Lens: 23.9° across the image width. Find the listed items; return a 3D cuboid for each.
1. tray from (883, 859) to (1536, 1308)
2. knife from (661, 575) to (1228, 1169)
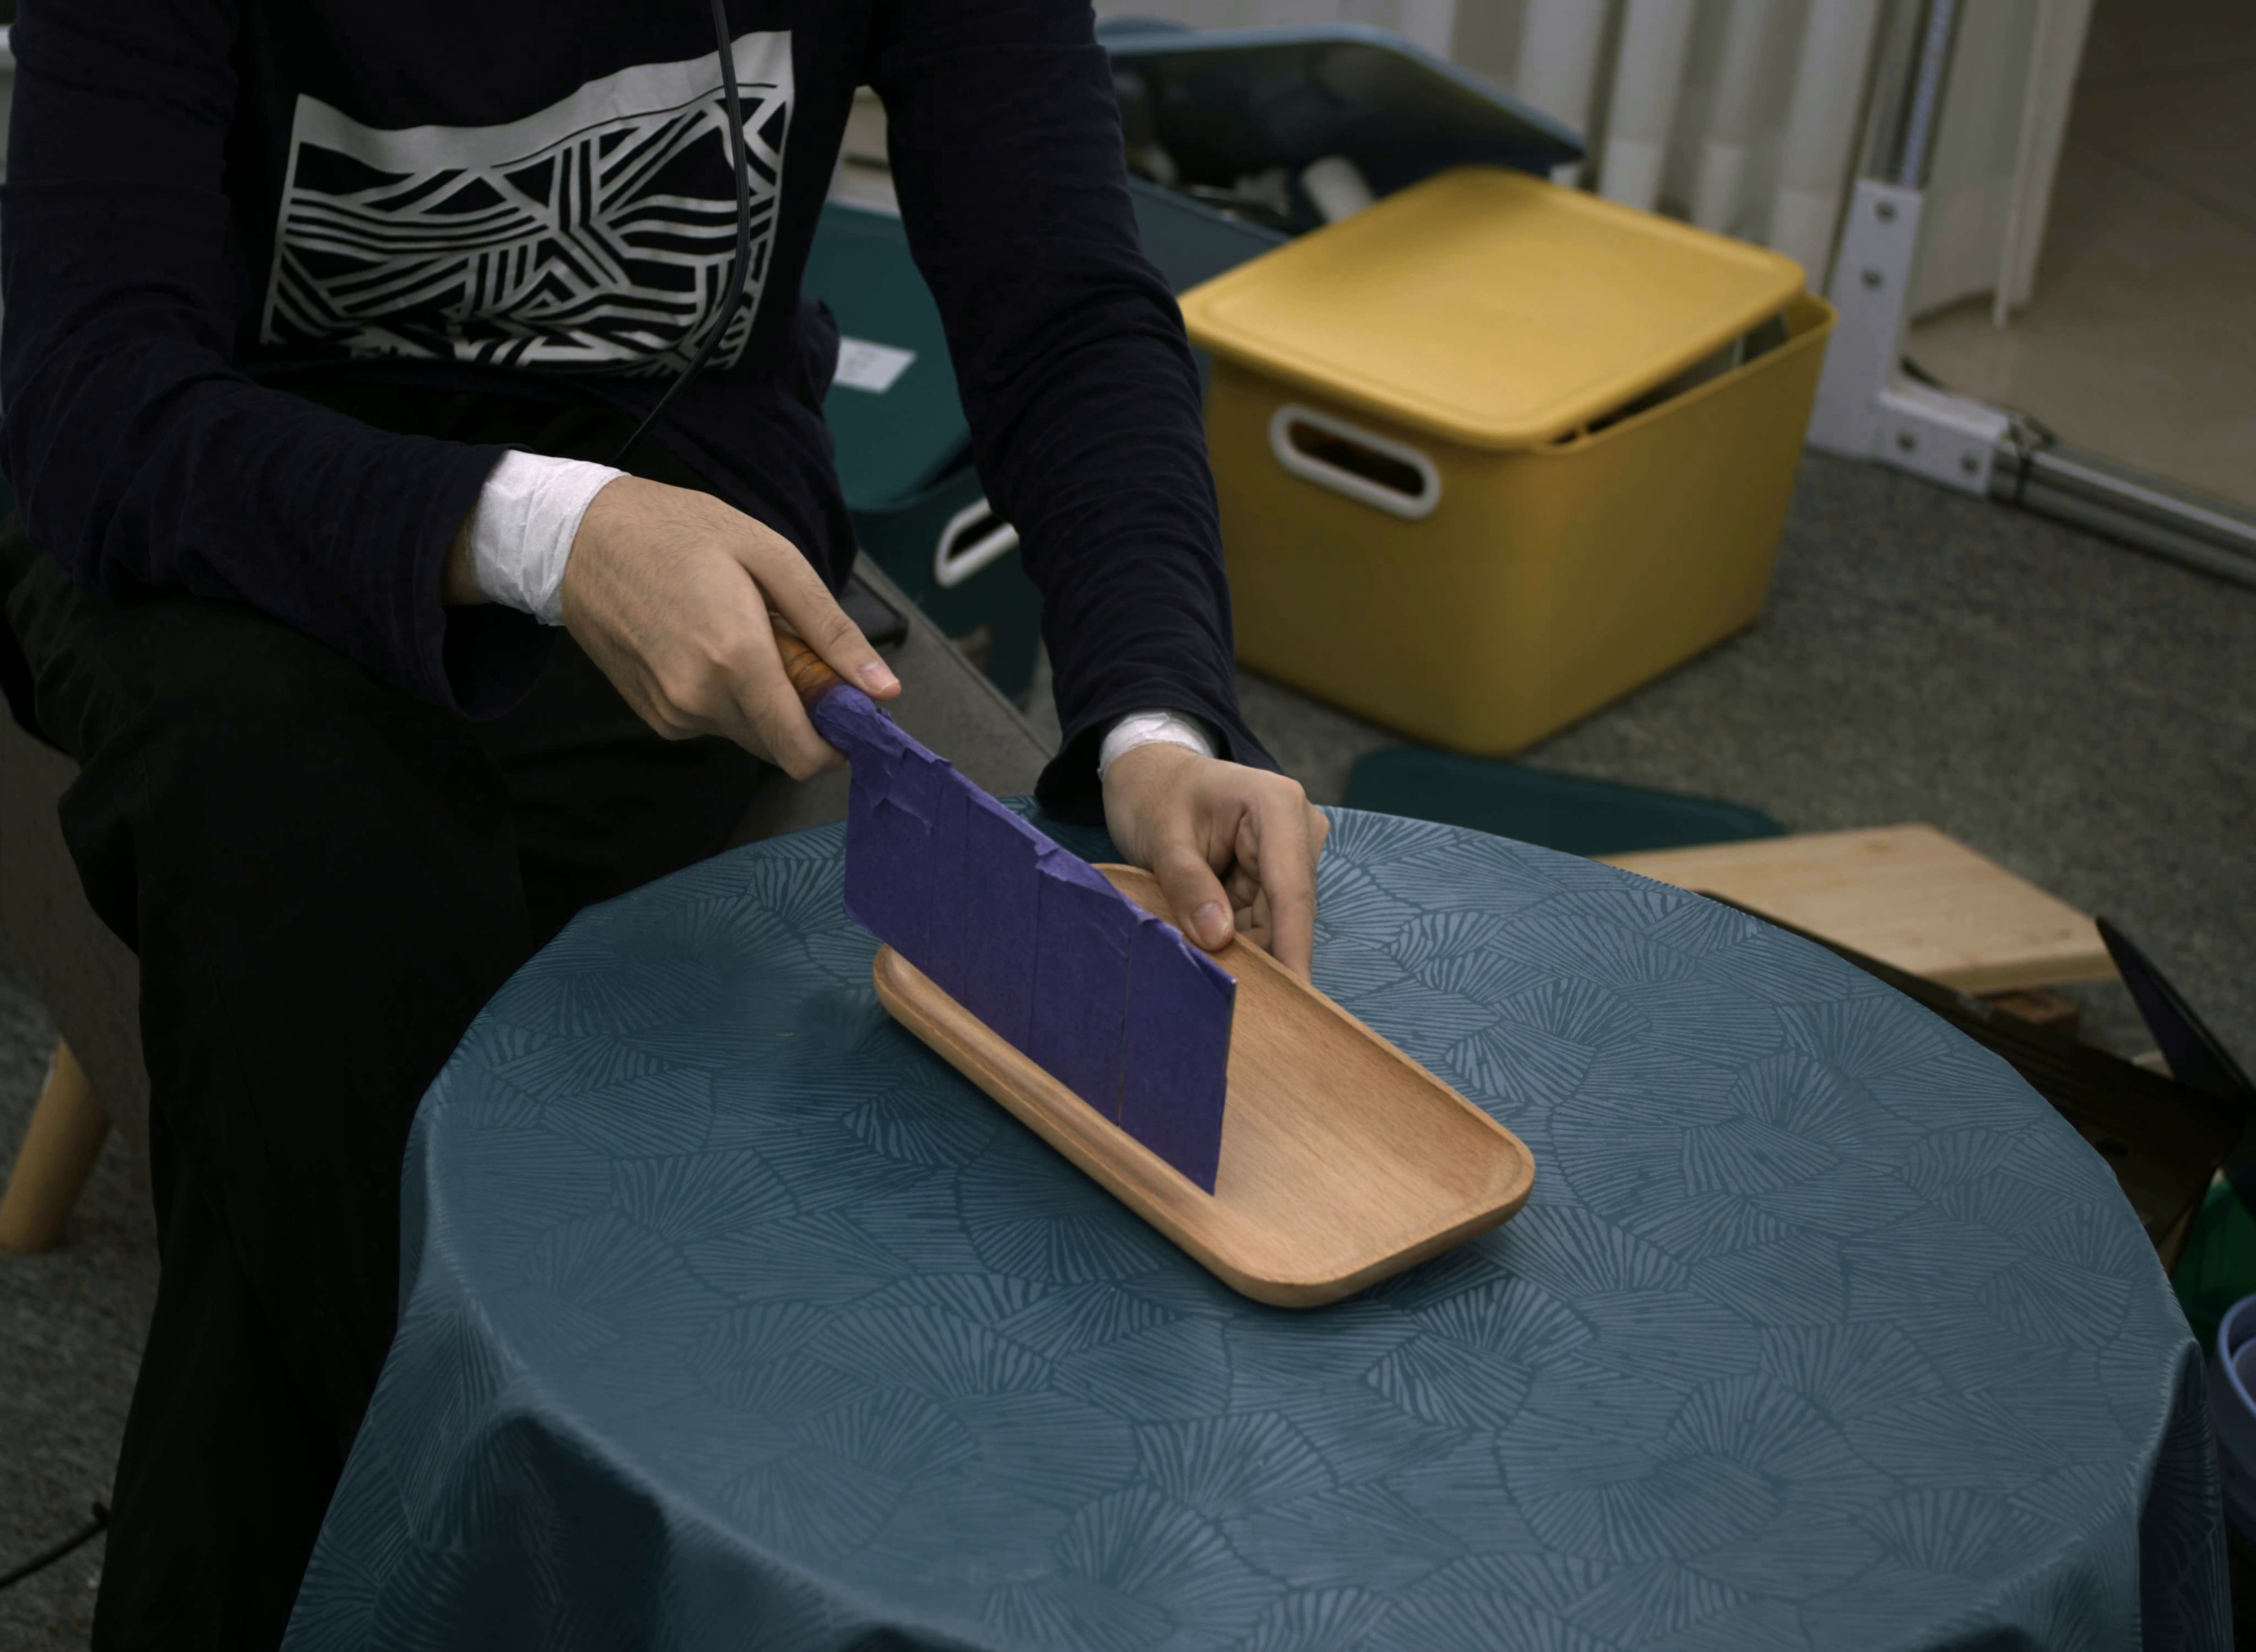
[{"bbox_3d":[0.025,0.086,1.847,0.130,0.023,0.253,-17,35,-30],"label":"tray"},{"bbox_3d":[-0.068,0.016,1.854,0.032,0.103,0.318,-17,37,-33],"label":"knife"}]
